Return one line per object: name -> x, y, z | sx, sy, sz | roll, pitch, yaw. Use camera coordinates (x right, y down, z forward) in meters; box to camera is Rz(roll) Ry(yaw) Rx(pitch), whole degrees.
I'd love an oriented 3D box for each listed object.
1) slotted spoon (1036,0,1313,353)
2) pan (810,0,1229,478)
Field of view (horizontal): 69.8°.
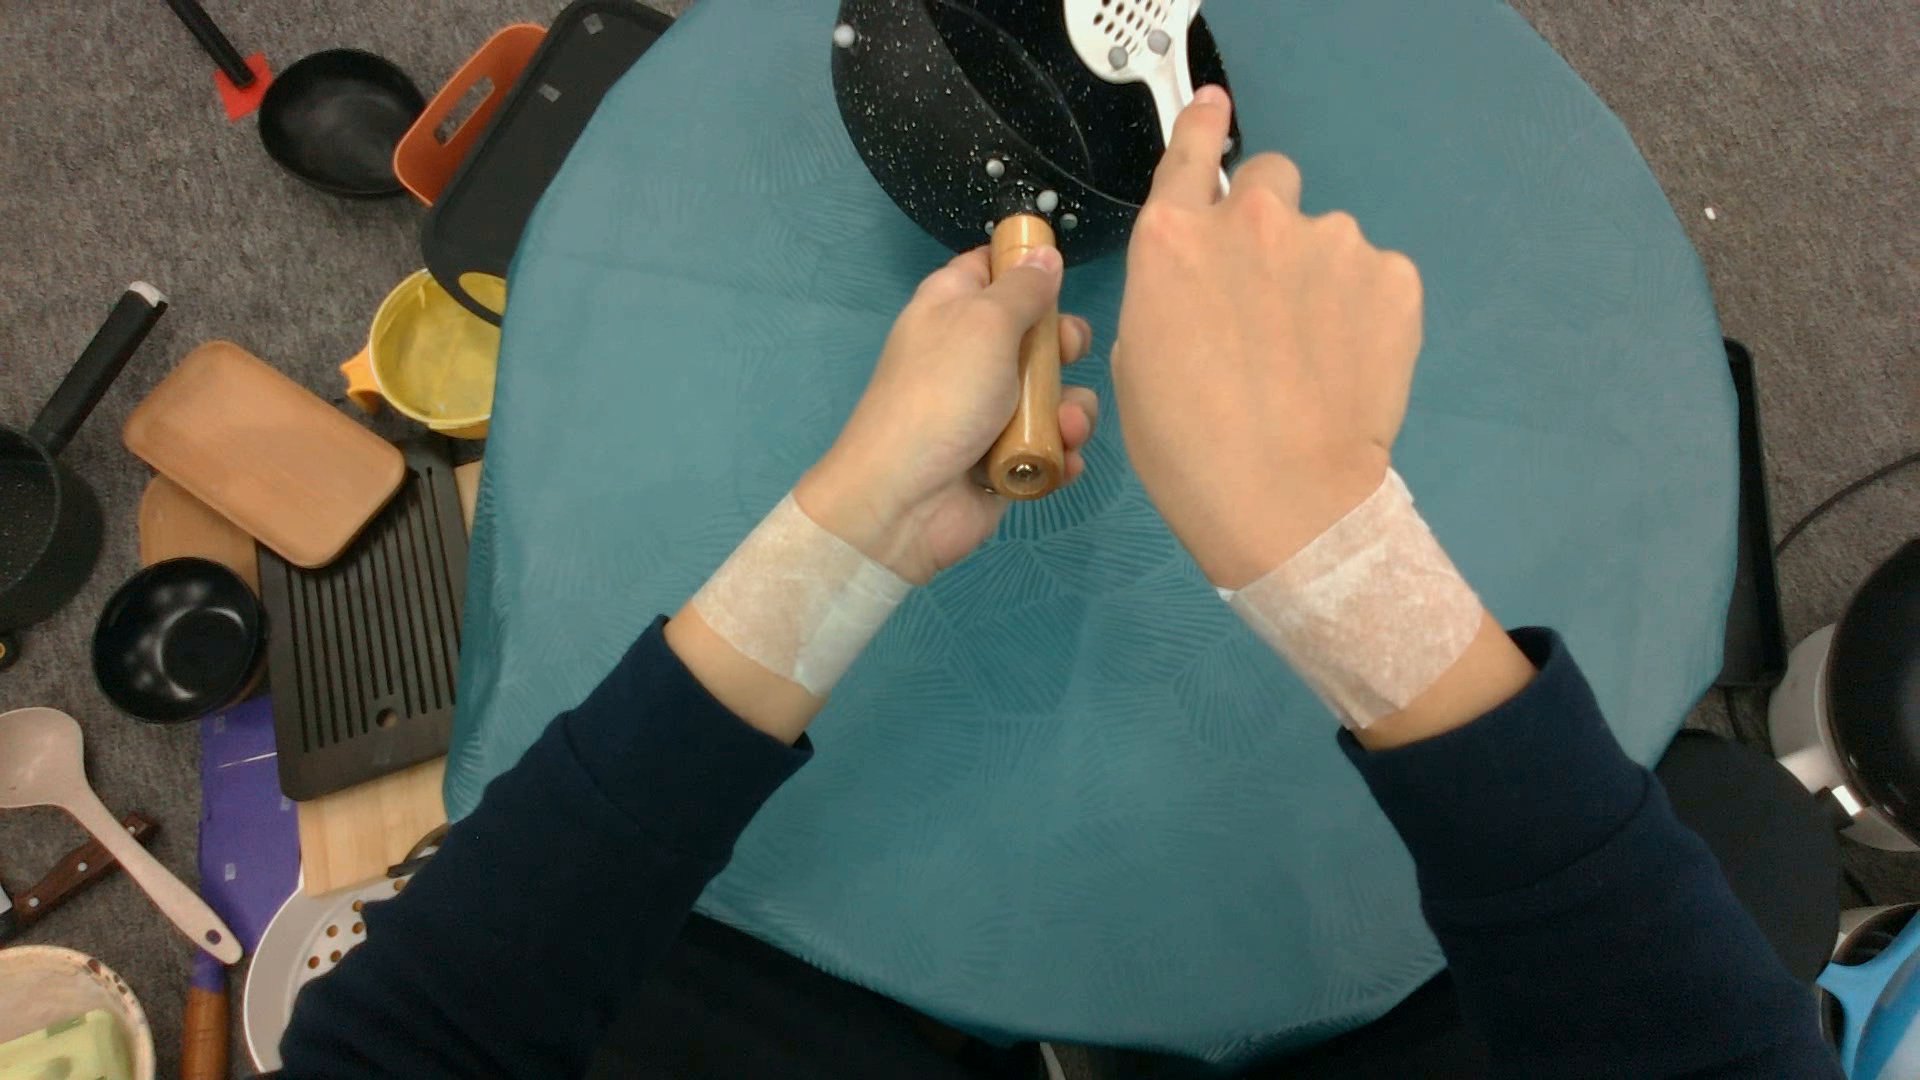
slotted spoon -> 0.078, -0.189, 0.513 | 0.050, 0.136, 0.349 | 15, 47, -15
pan -> 0.017, -0.149, 0.573 | 0.207, 0.107, 0.344 | 26, 53, -27
